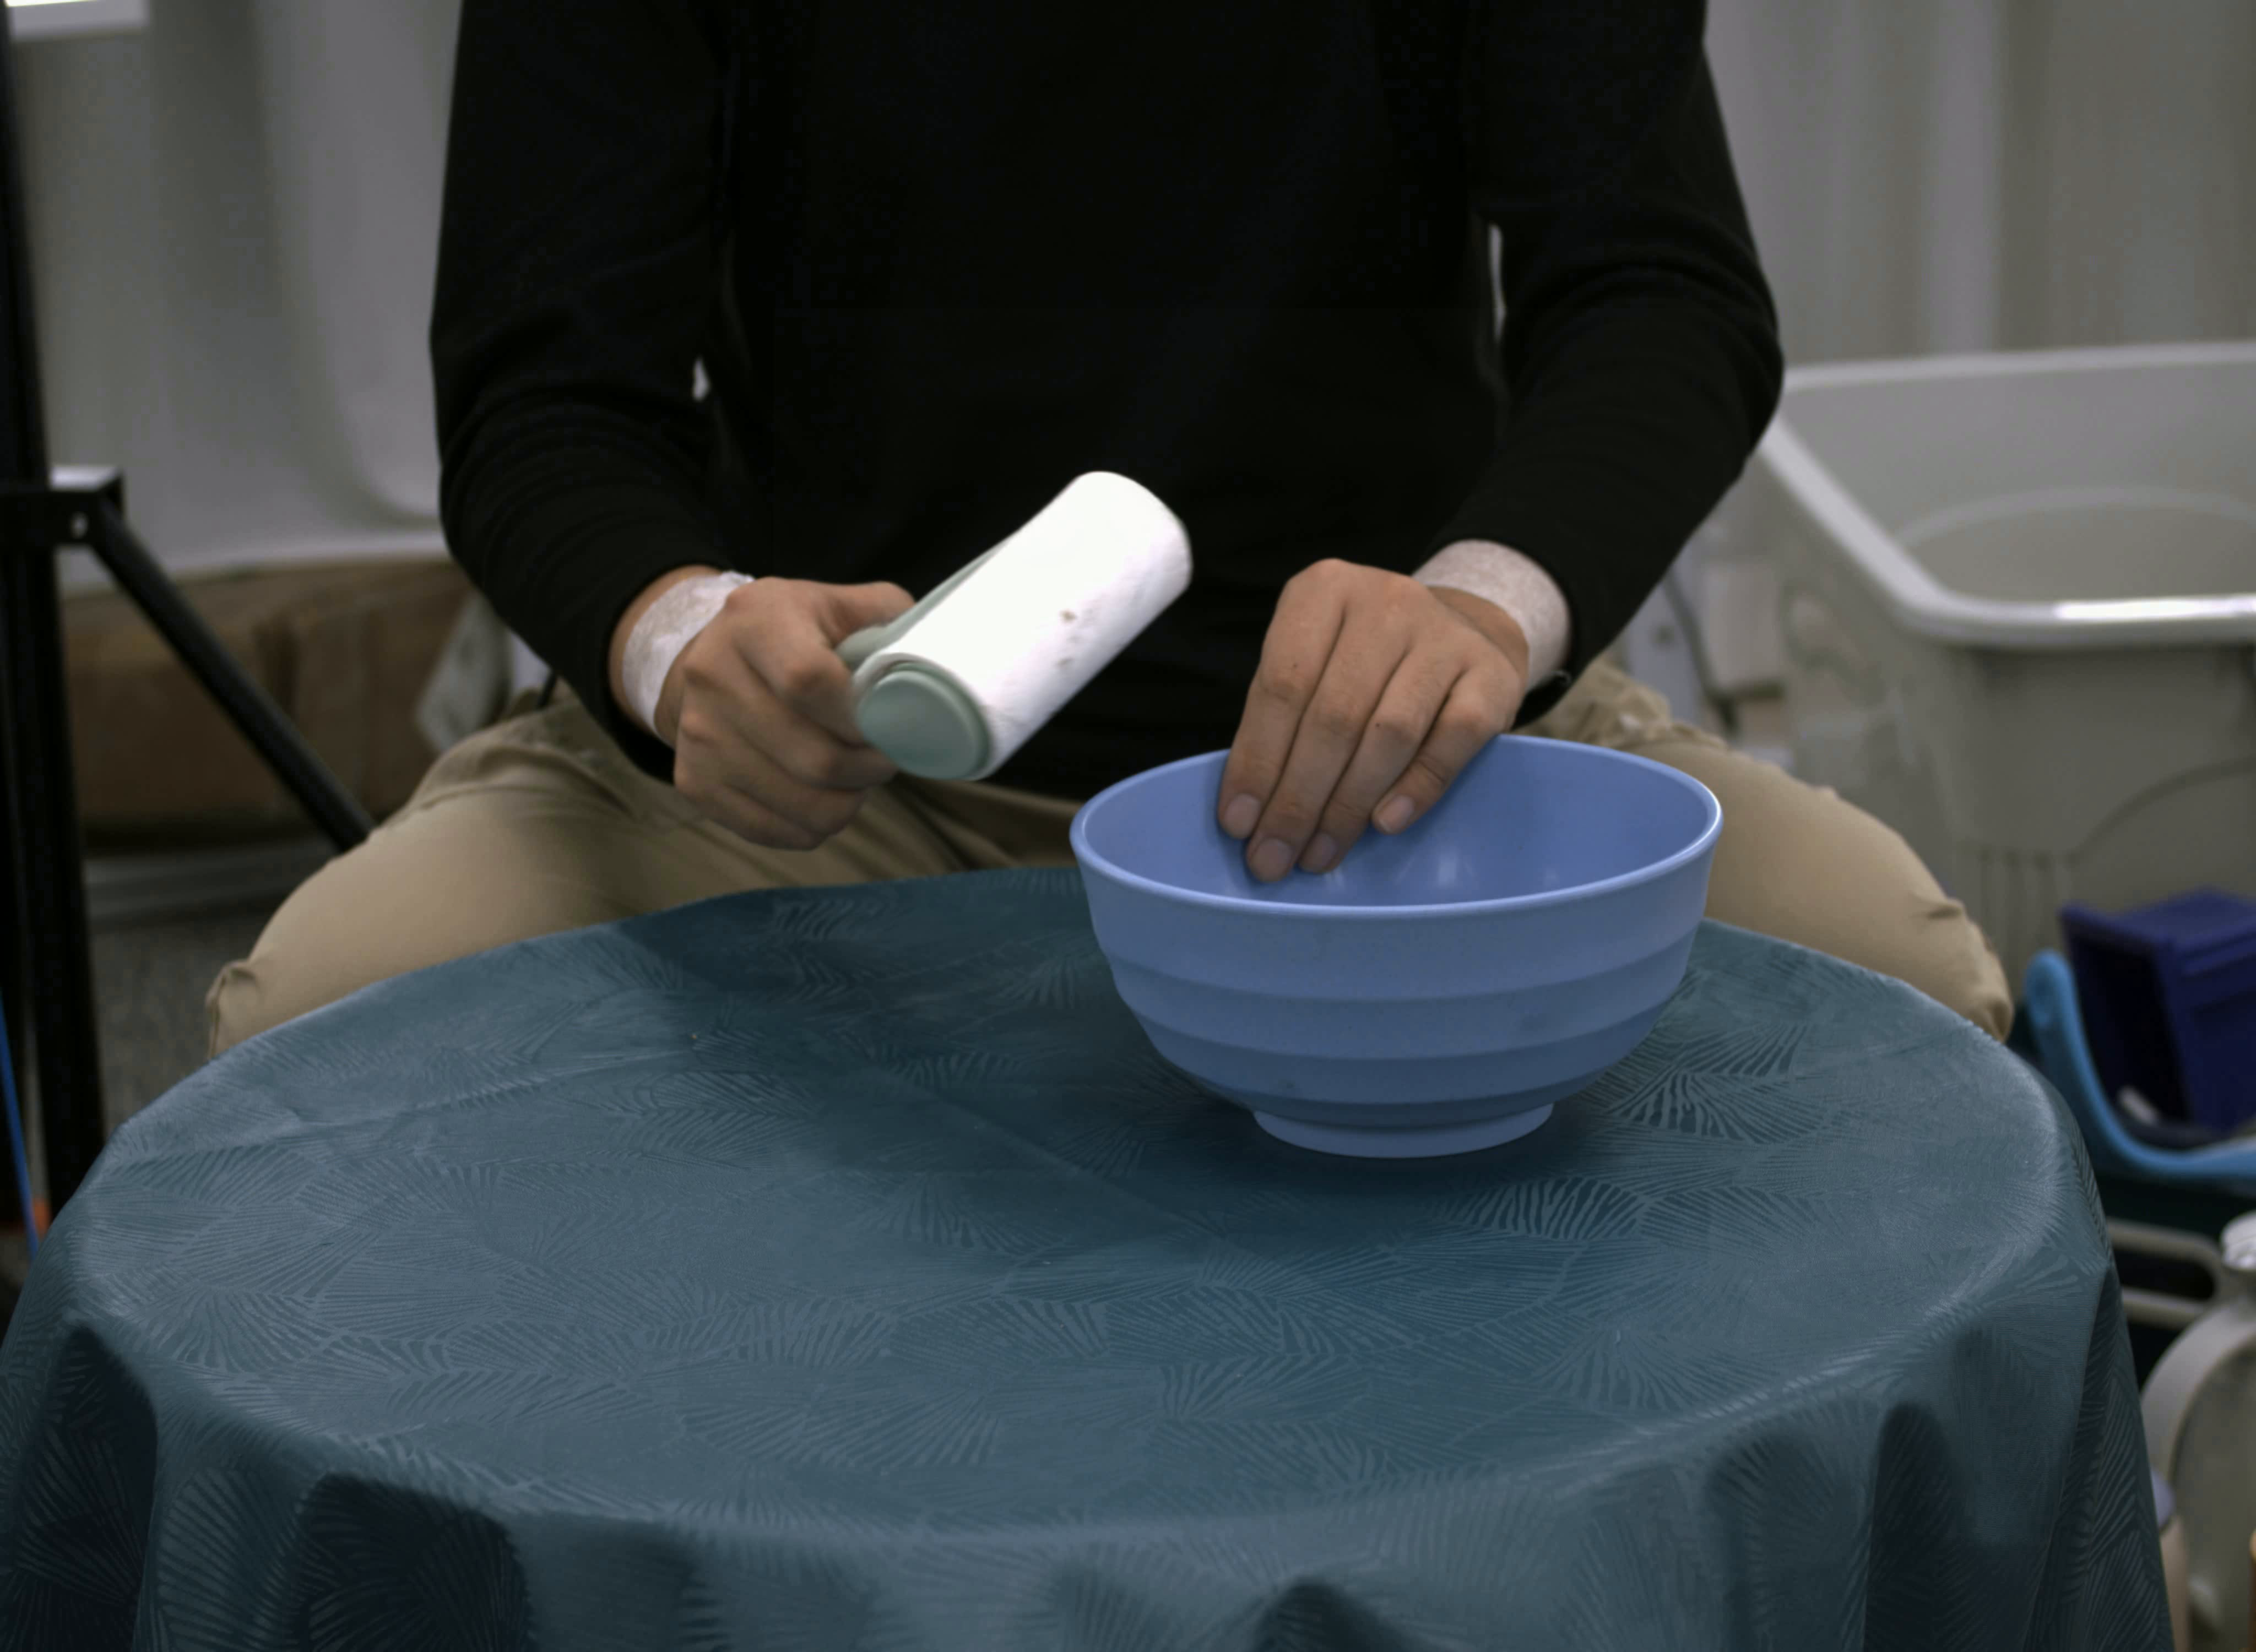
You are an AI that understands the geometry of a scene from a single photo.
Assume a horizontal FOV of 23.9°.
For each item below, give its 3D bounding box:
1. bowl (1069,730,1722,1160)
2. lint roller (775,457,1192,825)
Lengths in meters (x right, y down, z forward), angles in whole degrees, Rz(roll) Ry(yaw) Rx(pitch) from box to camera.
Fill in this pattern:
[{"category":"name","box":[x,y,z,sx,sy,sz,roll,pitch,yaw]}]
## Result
[{"category":"bowl","box":[0.082,0.041,1.604,0.195,0.095,0.197,-4,16,0]},{"category":"lint roller","box":[-0.065,-0.048,1.689,0.115,0.048,0.200,-46,12,-33]}]
